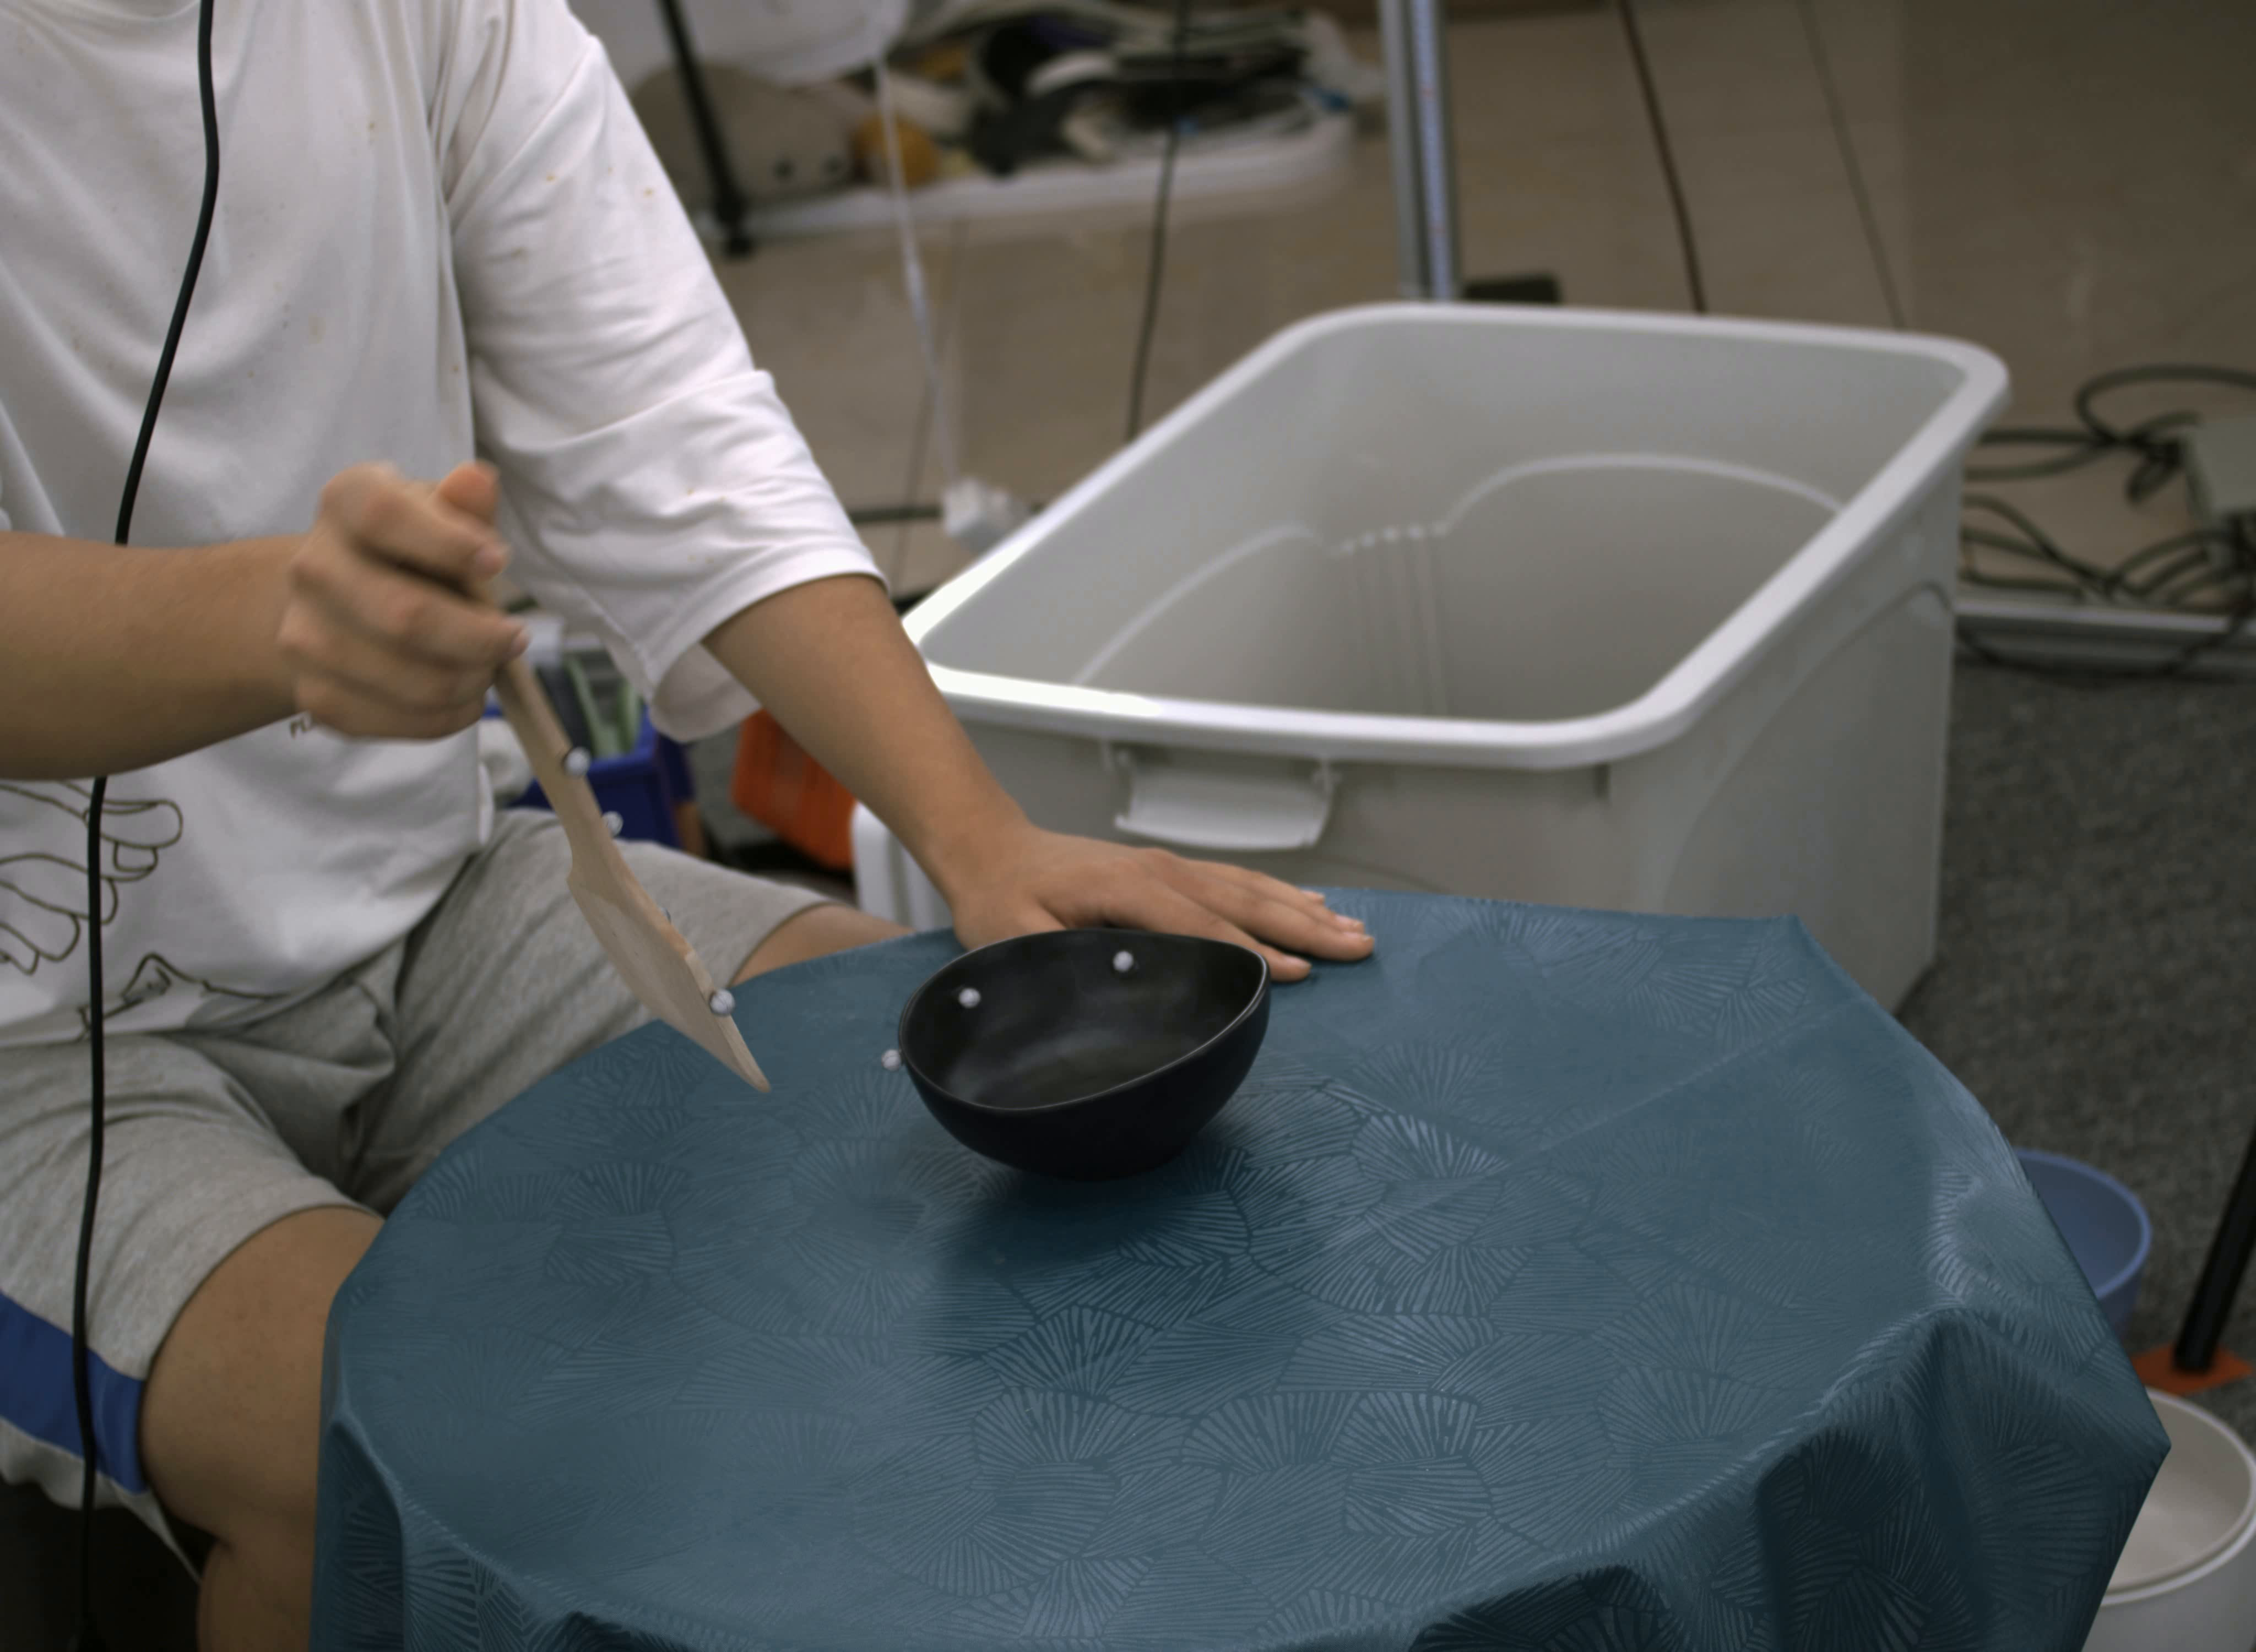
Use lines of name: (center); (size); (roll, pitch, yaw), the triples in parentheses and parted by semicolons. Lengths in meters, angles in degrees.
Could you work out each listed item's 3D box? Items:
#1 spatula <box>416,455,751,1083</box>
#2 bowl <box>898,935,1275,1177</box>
spatula: (-0.185, -0.017, 1.885); (0.010, 0.298, 0.071); (-42, 52, -21)
bowl: (-0.013, 0.092, 2.174); (0.137, 0.068, 0.168); (6, 26, 26)
